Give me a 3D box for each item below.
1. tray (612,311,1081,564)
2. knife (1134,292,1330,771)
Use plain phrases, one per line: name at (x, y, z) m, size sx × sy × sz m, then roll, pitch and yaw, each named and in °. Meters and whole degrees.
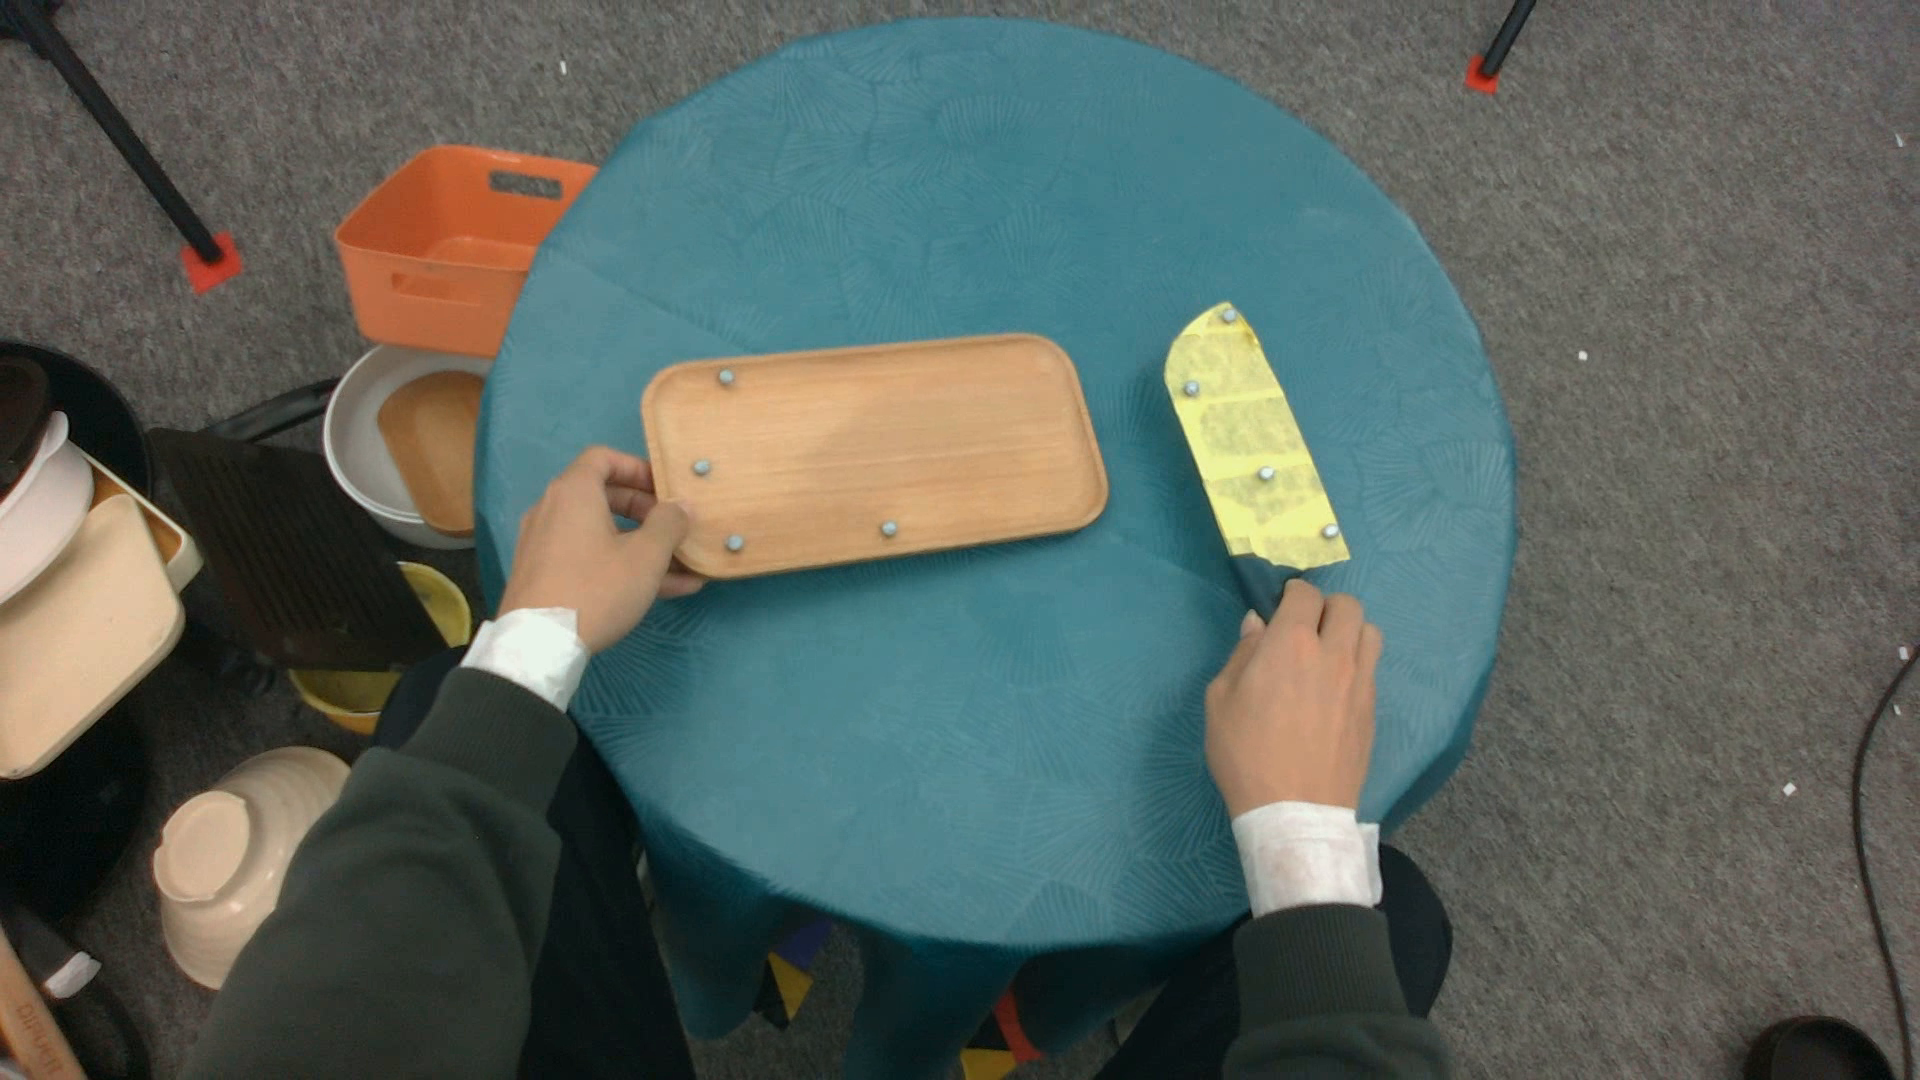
tray at (-0.059, -0.060, 0.760) m, size 0.251 × 0.023 × 0.131 m, roll -8°, pitch 72°, yaw -20°
knife at (0.160, -0.015, 0.766) m, size 0.081 × 0.027 × 0.290 m, roll -7°, pitch 69°, yaw -18°
